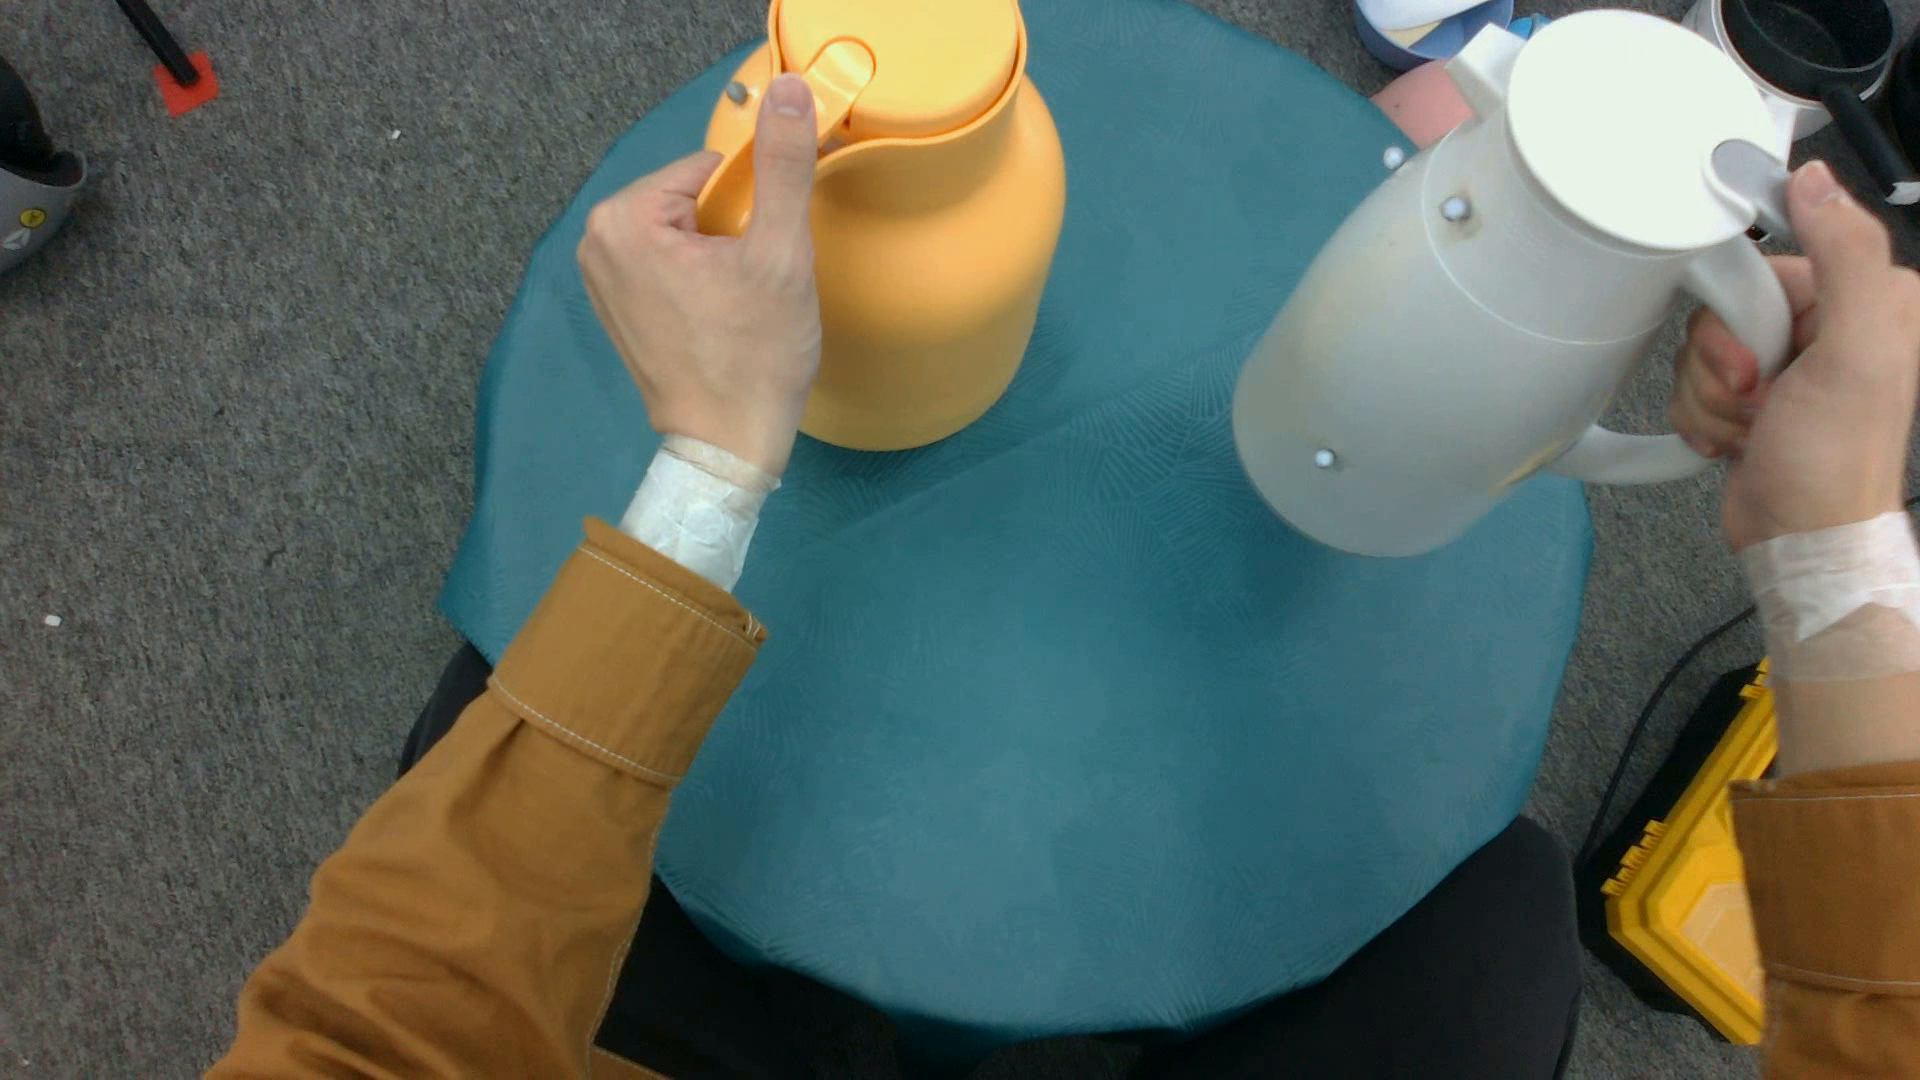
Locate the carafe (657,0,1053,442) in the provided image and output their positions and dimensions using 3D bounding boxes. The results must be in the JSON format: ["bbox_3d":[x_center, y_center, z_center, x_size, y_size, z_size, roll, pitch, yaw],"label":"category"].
[{"bbox_3d":[-0.054,-0.146,0.613,0.163,0.259,0.203,39,70,8],"label":"carafe"}]

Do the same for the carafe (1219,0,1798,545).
[{"bbox_3d":[0.216,-0.090,0.546,0.168,0.247,0.133,38,70,7],"label":"carafe"}]
